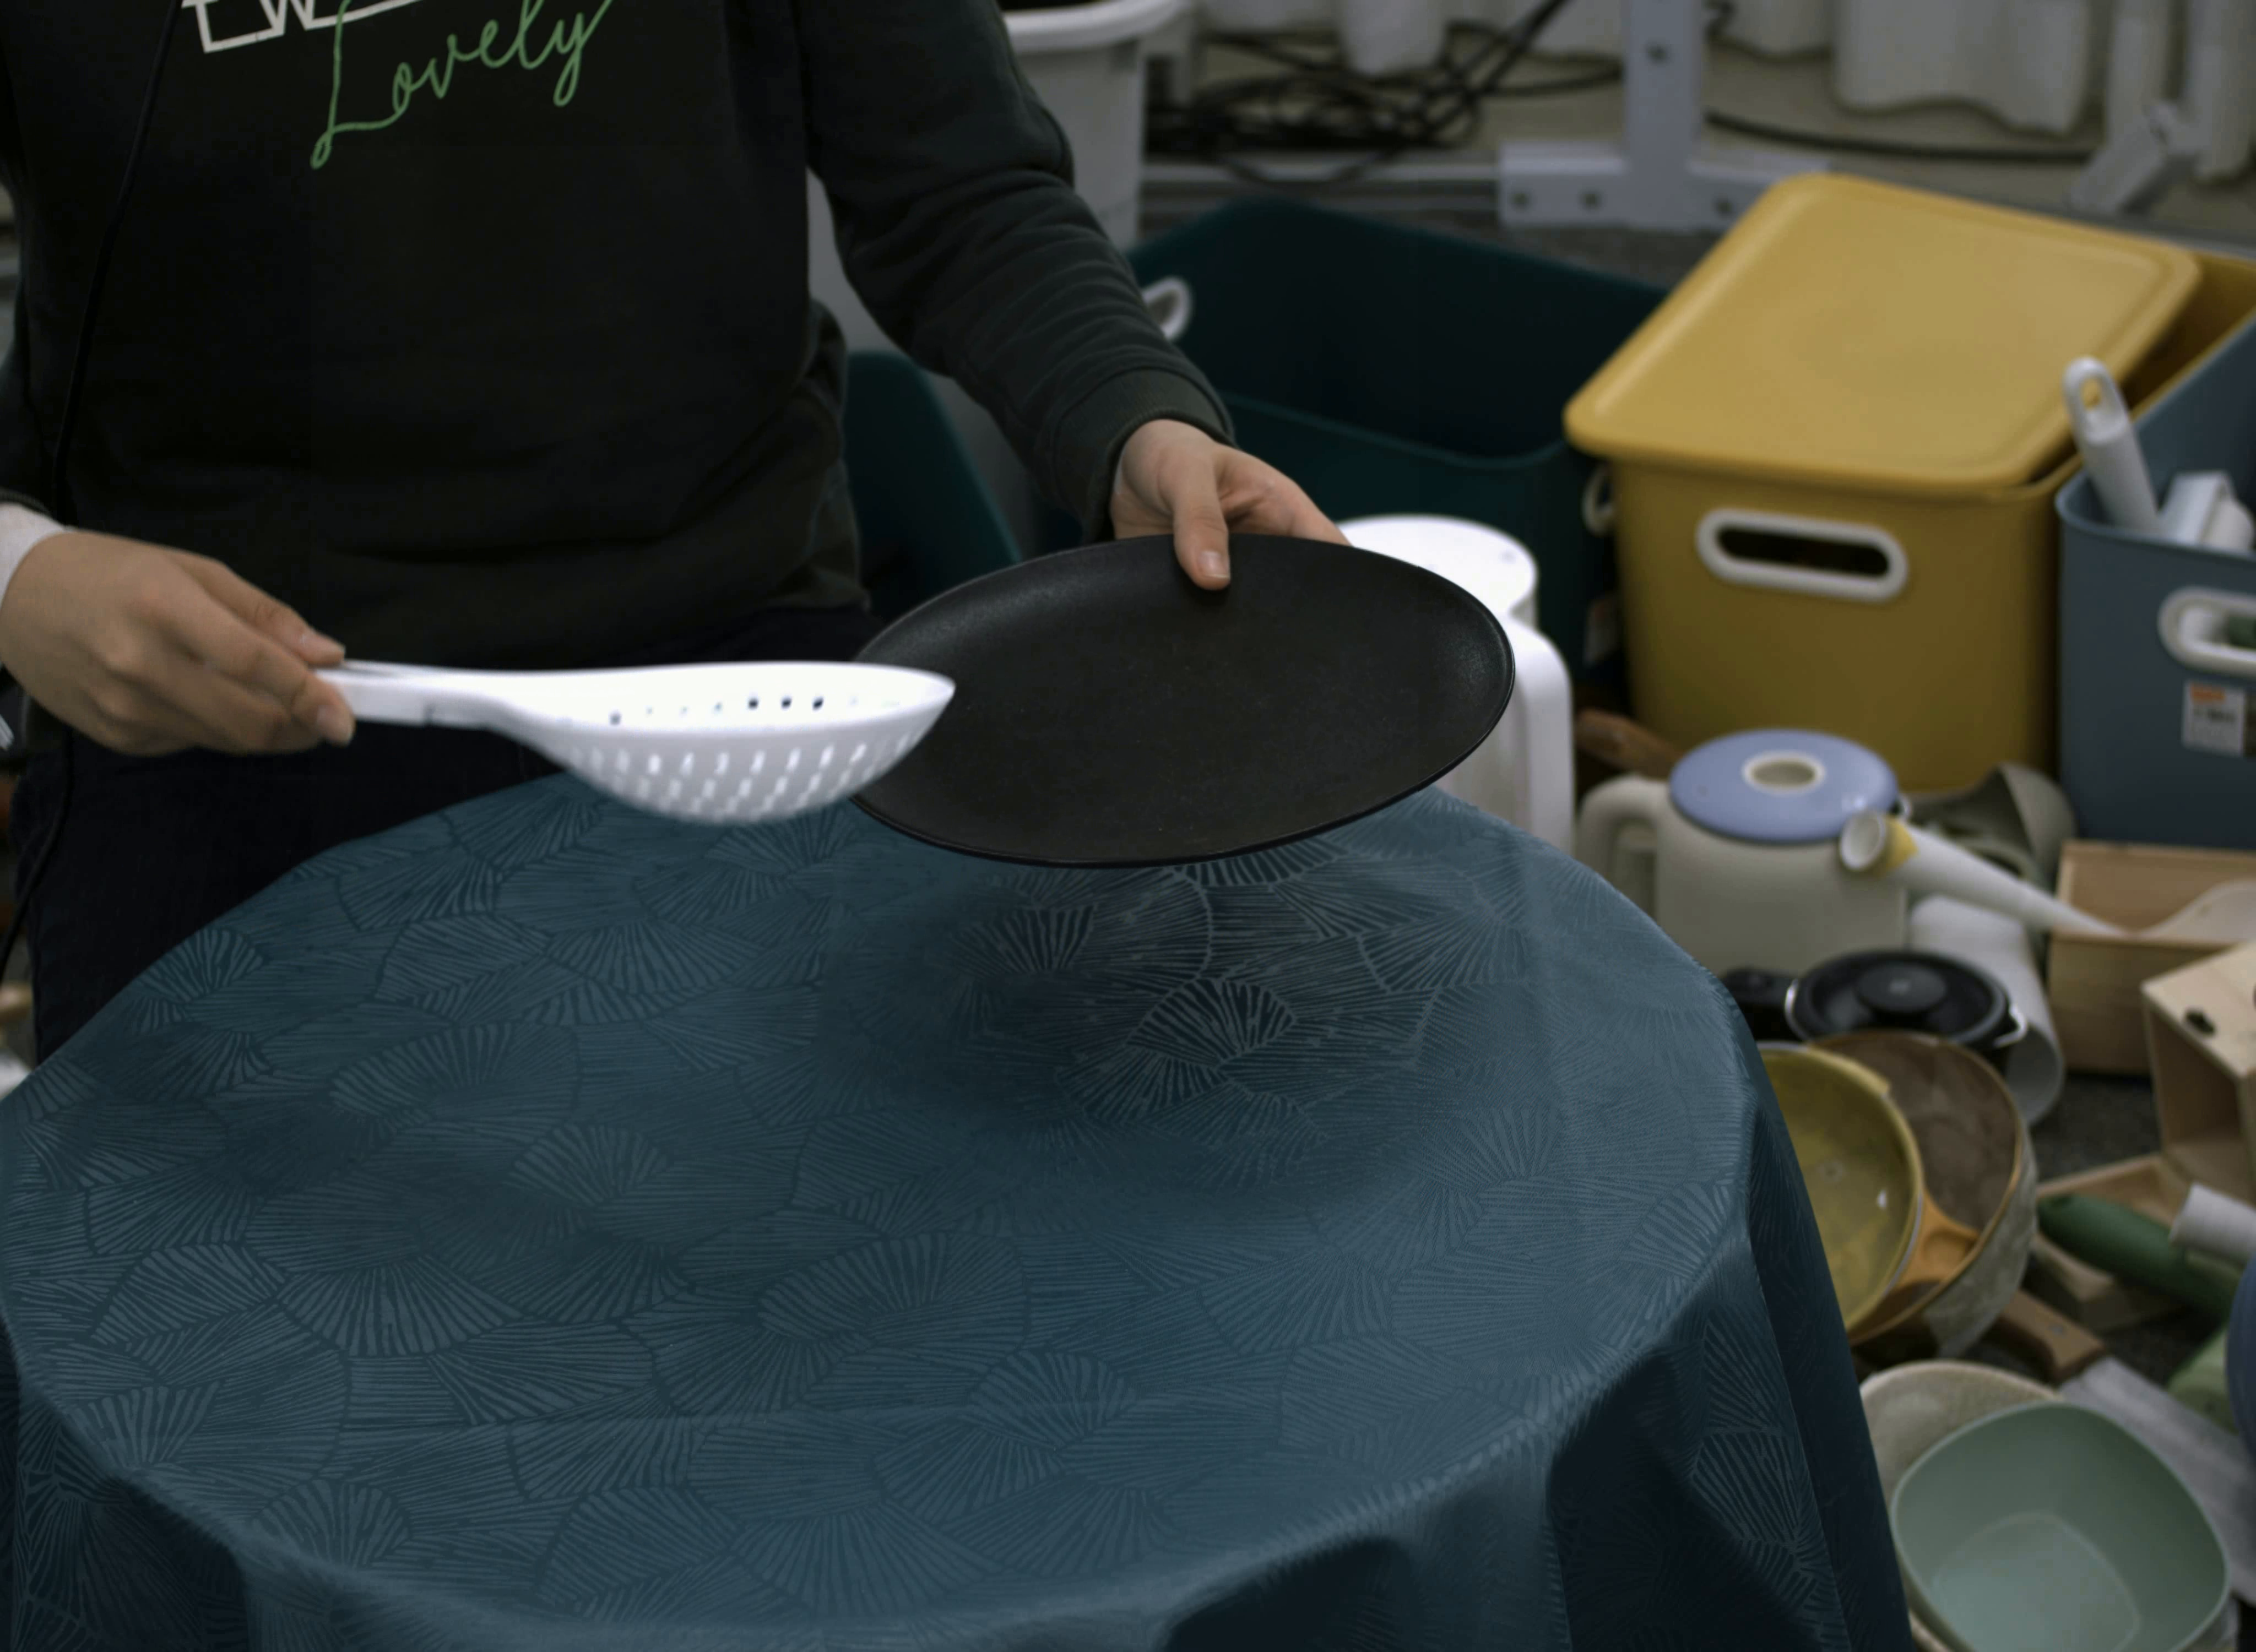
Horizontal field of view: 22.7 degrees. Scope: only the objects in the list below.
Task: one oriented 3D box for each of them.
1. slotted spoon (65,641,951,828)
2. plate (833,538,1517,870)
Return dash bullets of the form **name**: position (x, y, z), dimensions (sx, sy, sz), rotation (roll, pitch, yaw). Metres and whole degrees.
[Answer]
- **slotted spoon**: position (-0.213, -0.040, 1.829), dimensions (0.347, 0.045, 0.137), rotation (11, 14, 32)
- **plate**: position (0.014, -0.039, 1.950), dimensions (0.243, 0.023, 0.248), rotation (-4, 28, 3)
